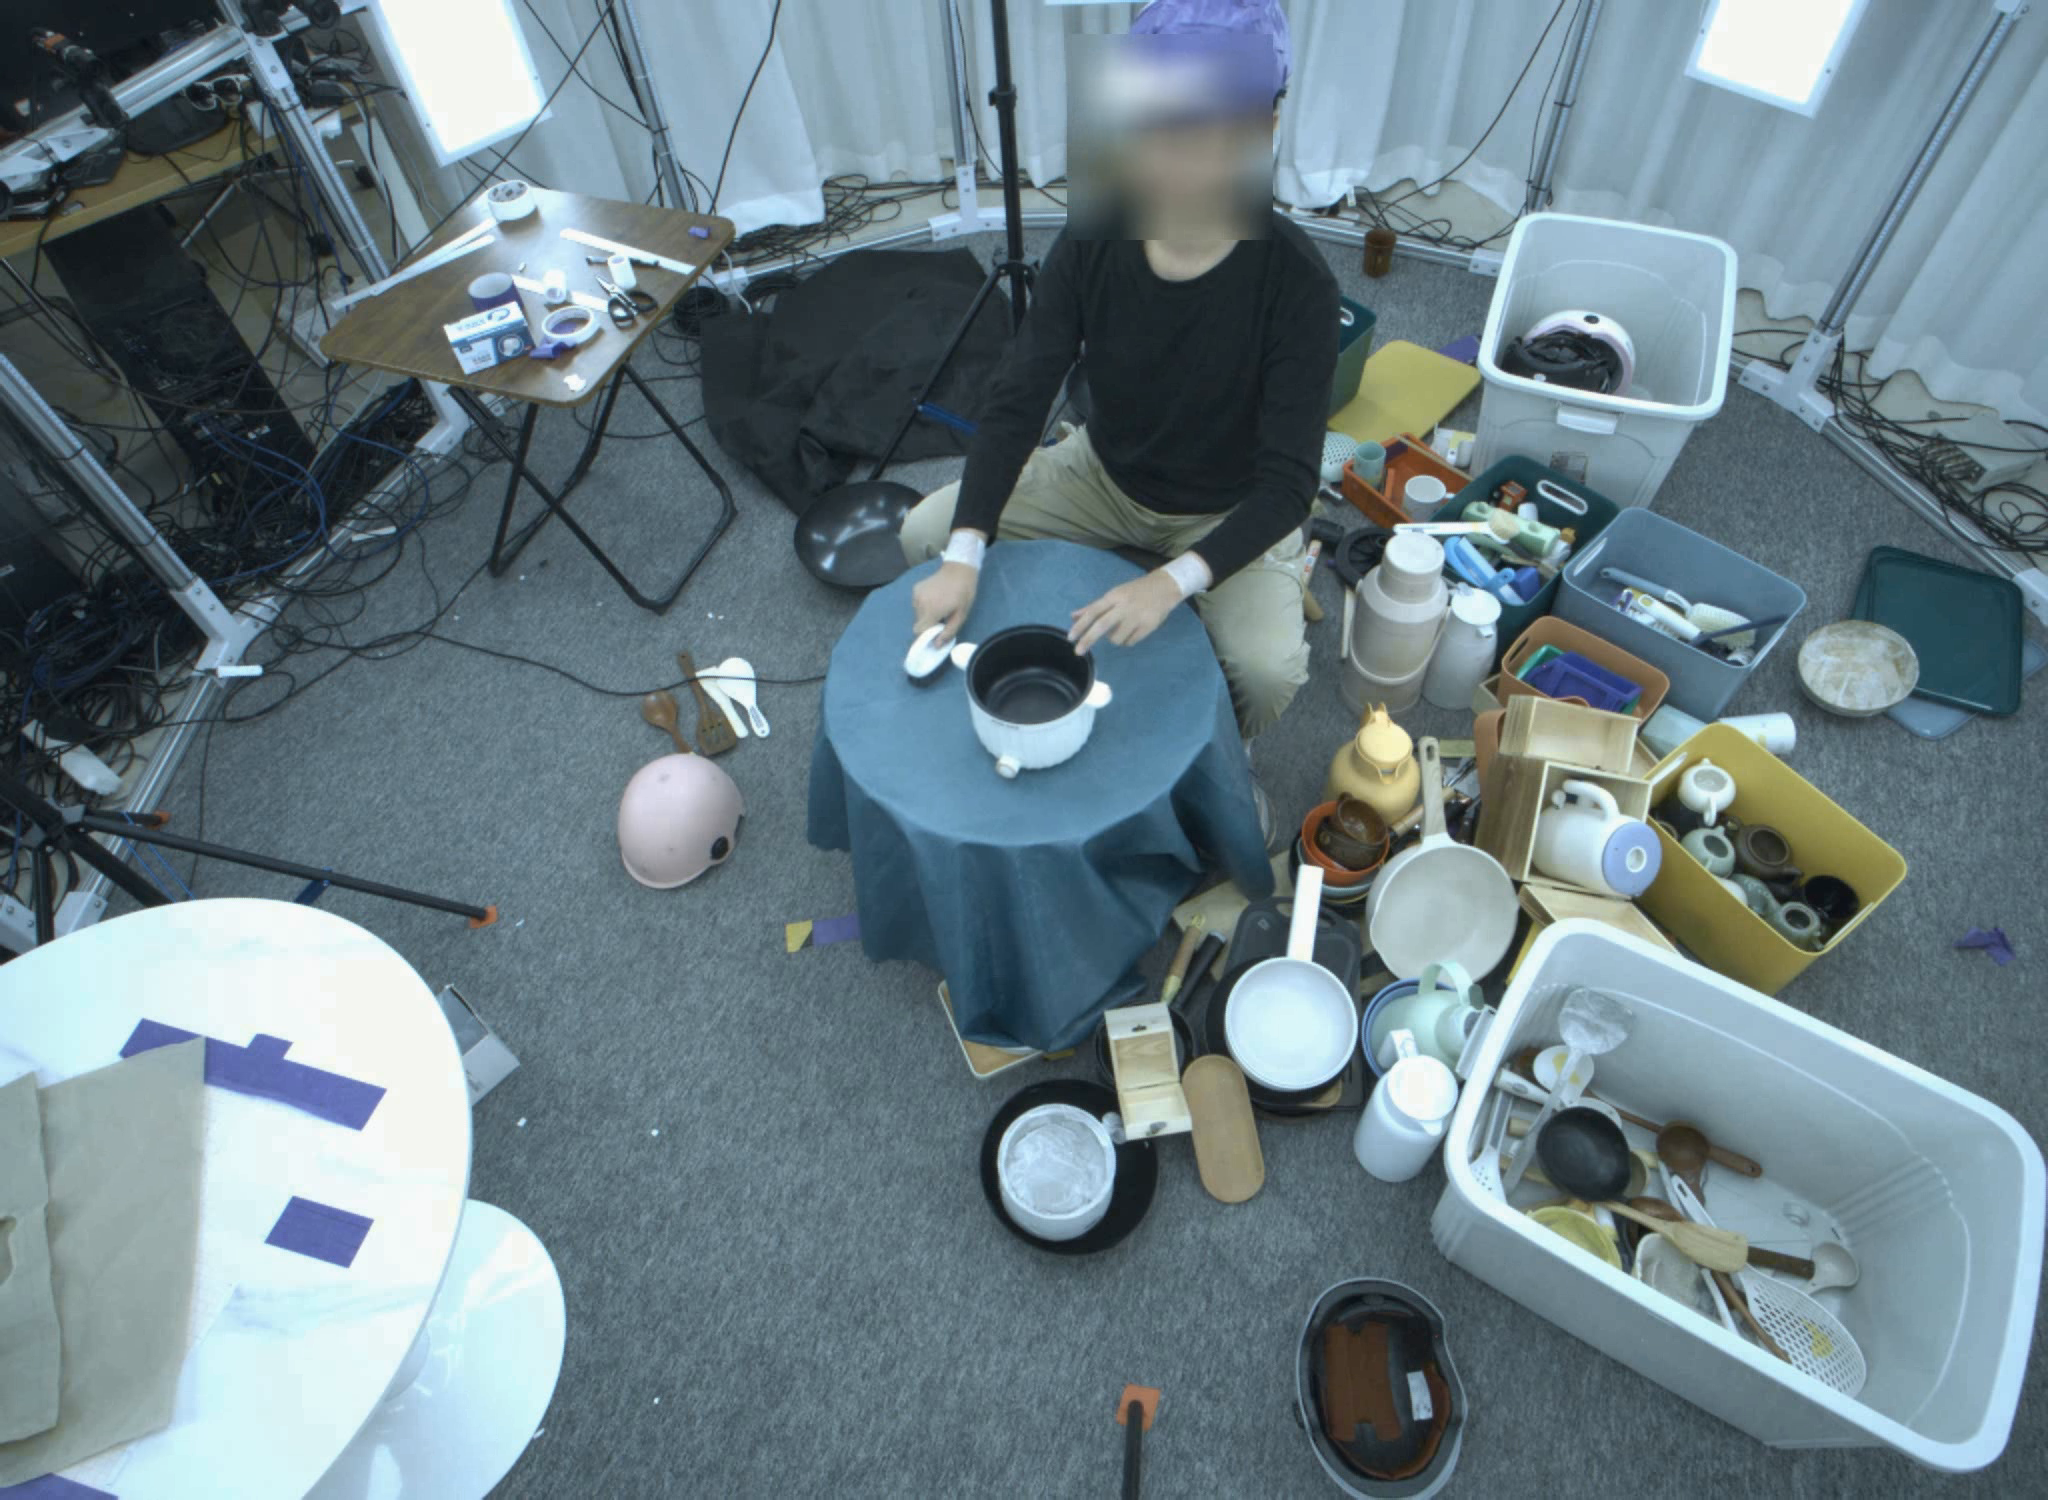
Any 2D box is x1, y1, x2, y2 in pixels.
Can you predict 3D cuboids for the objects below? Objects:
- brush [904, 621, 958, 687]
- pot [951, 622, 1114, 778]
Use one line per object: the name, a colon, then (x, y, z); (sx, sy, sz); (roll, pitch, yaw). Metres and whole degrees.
brush: (-0.143, -0.152, 1.855); (0.049, 0.073, 0.099); (30, 62, 22)
pot: (0.012, -0.065, 1.749); (0.238, 0.144, 0.190); (16, 54, 15)
